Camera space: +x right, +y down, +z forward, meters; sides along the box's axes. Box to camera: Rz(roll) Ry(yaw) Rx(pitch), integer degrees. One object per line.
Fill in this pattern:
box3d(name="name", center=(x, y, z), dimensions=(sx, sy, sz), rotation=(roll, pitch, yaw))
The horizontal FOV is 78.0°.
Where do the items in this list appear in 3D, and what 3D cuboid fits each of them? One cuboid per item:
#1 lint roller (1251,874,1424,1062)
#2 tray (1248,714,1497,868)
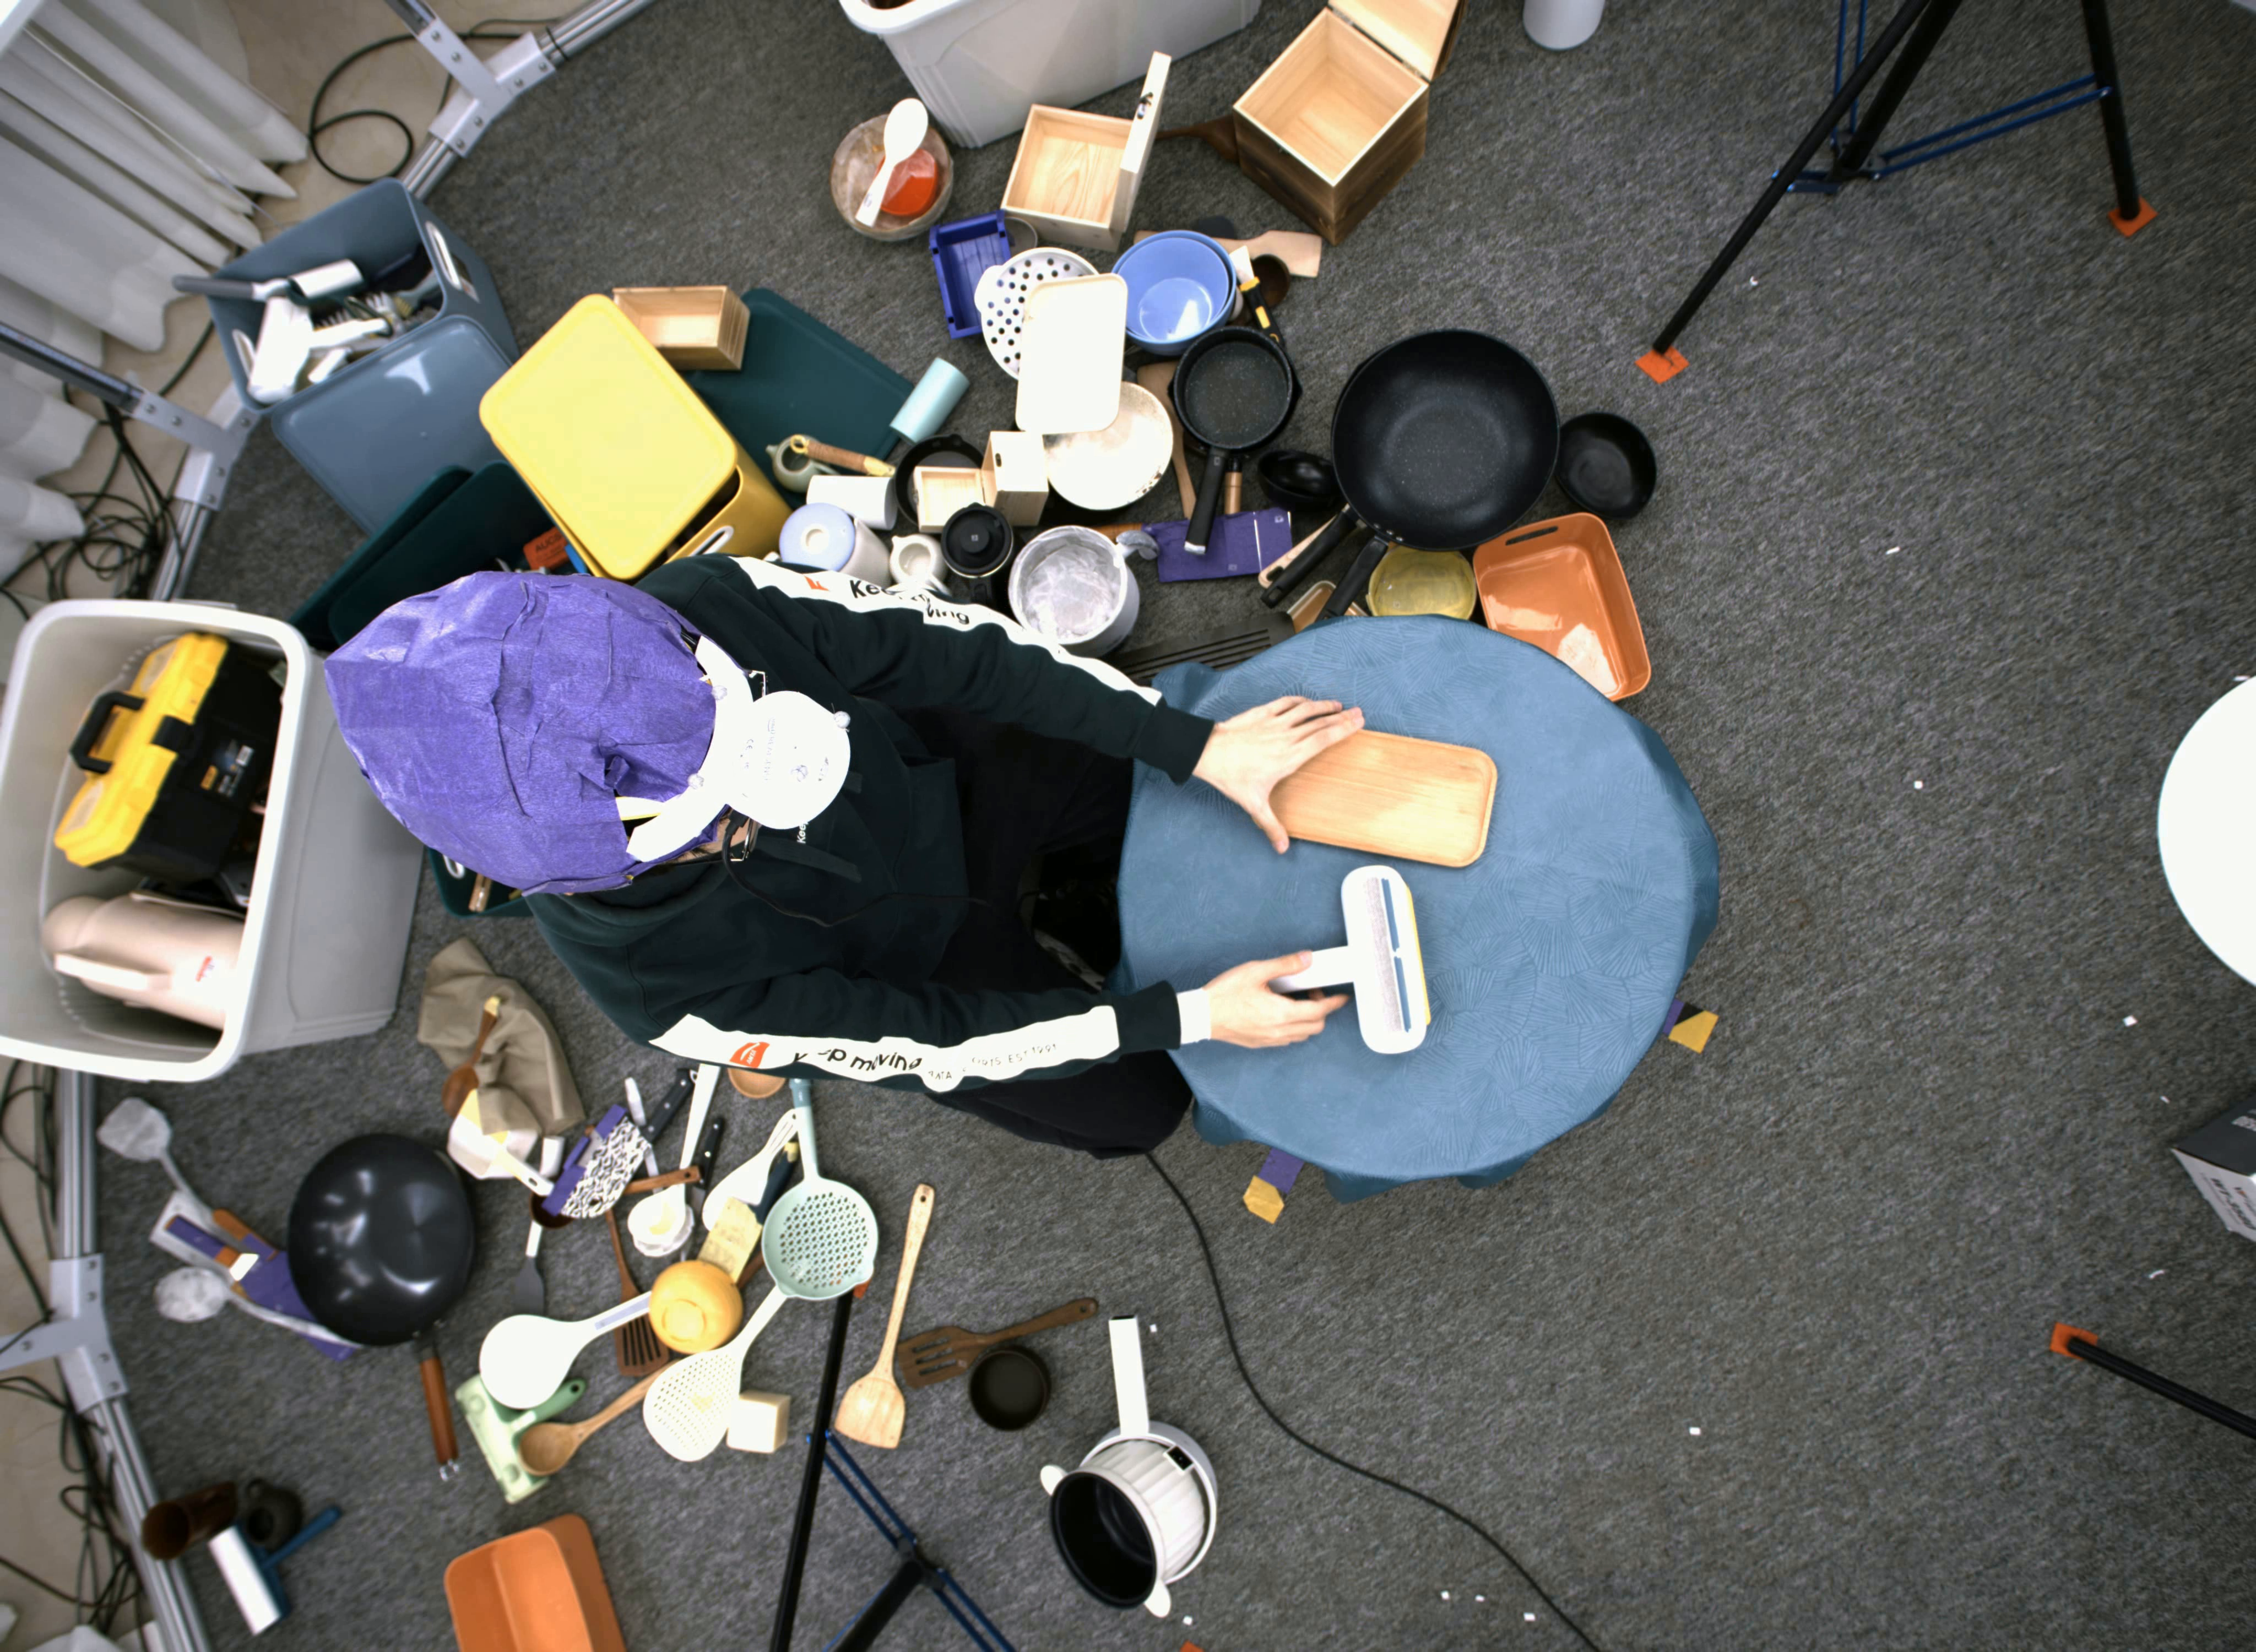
box3d(name="lint roller", center=(0.213, 0.151, 1.447), dimensions=(0.194, 0.074, 0.191), rotation=(-6, 78, 25))
box3d(name="tray", center=(0.257, -0.038, 1.455), dimensions=(0.251, 0.023, 0.130), rotation=(12, 87, 11))
